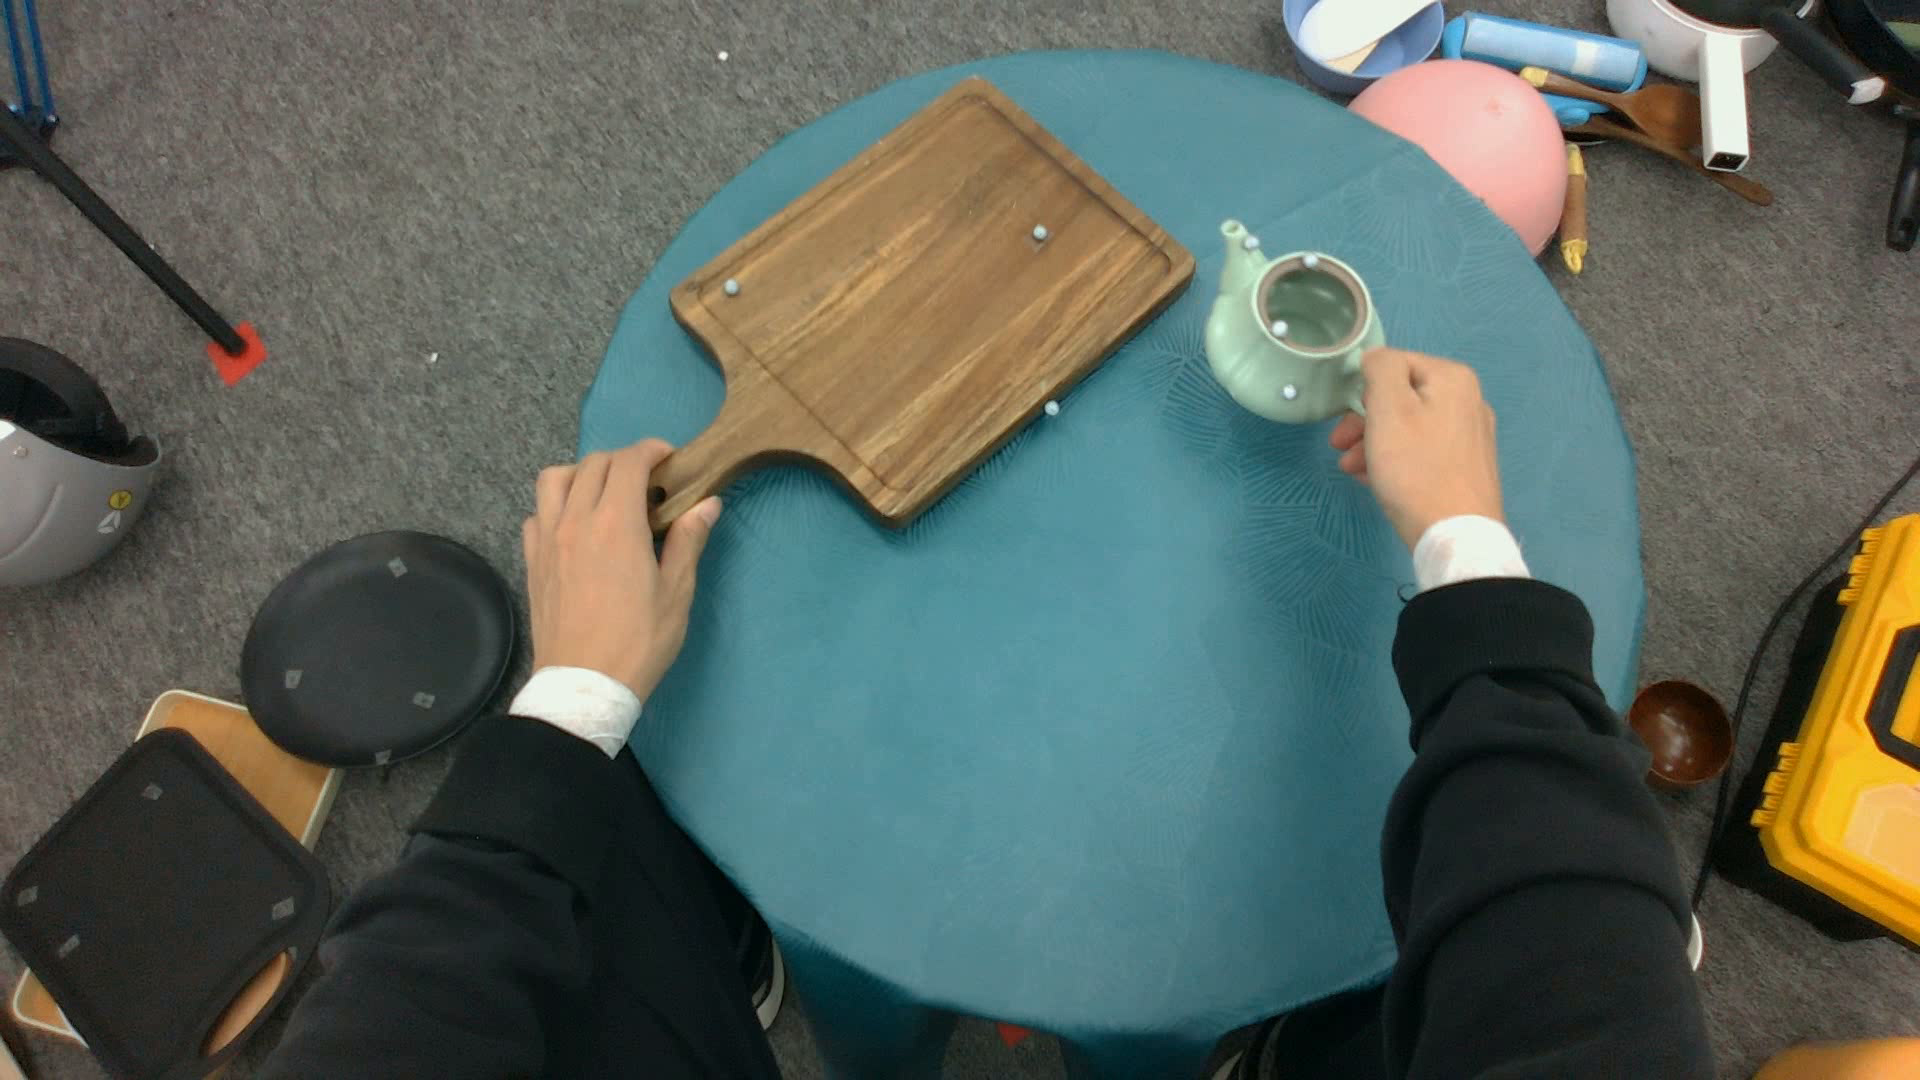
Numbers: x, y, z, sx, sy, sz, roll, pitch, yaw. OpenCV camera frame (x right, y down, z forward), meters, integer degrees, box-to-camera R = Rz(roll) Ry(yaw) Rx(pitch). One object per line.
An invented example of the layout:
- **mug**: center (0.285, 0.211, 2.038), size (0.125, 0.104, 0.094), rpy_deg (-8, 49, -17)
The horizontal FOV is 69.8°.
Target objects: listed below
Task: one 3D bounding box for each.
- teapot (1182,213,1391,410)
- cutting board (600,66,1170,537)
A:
- **teapot**: center (0.173, -0.118, 0.742), size (0.096, 0.061, 0.137), rpy_deg (-40, 74, -17)
- **cutting board**: center (-0.063, -0.123, 0.787), size (0.201, 0.023, 0.353), rpy_deg (42, 70, 15)
